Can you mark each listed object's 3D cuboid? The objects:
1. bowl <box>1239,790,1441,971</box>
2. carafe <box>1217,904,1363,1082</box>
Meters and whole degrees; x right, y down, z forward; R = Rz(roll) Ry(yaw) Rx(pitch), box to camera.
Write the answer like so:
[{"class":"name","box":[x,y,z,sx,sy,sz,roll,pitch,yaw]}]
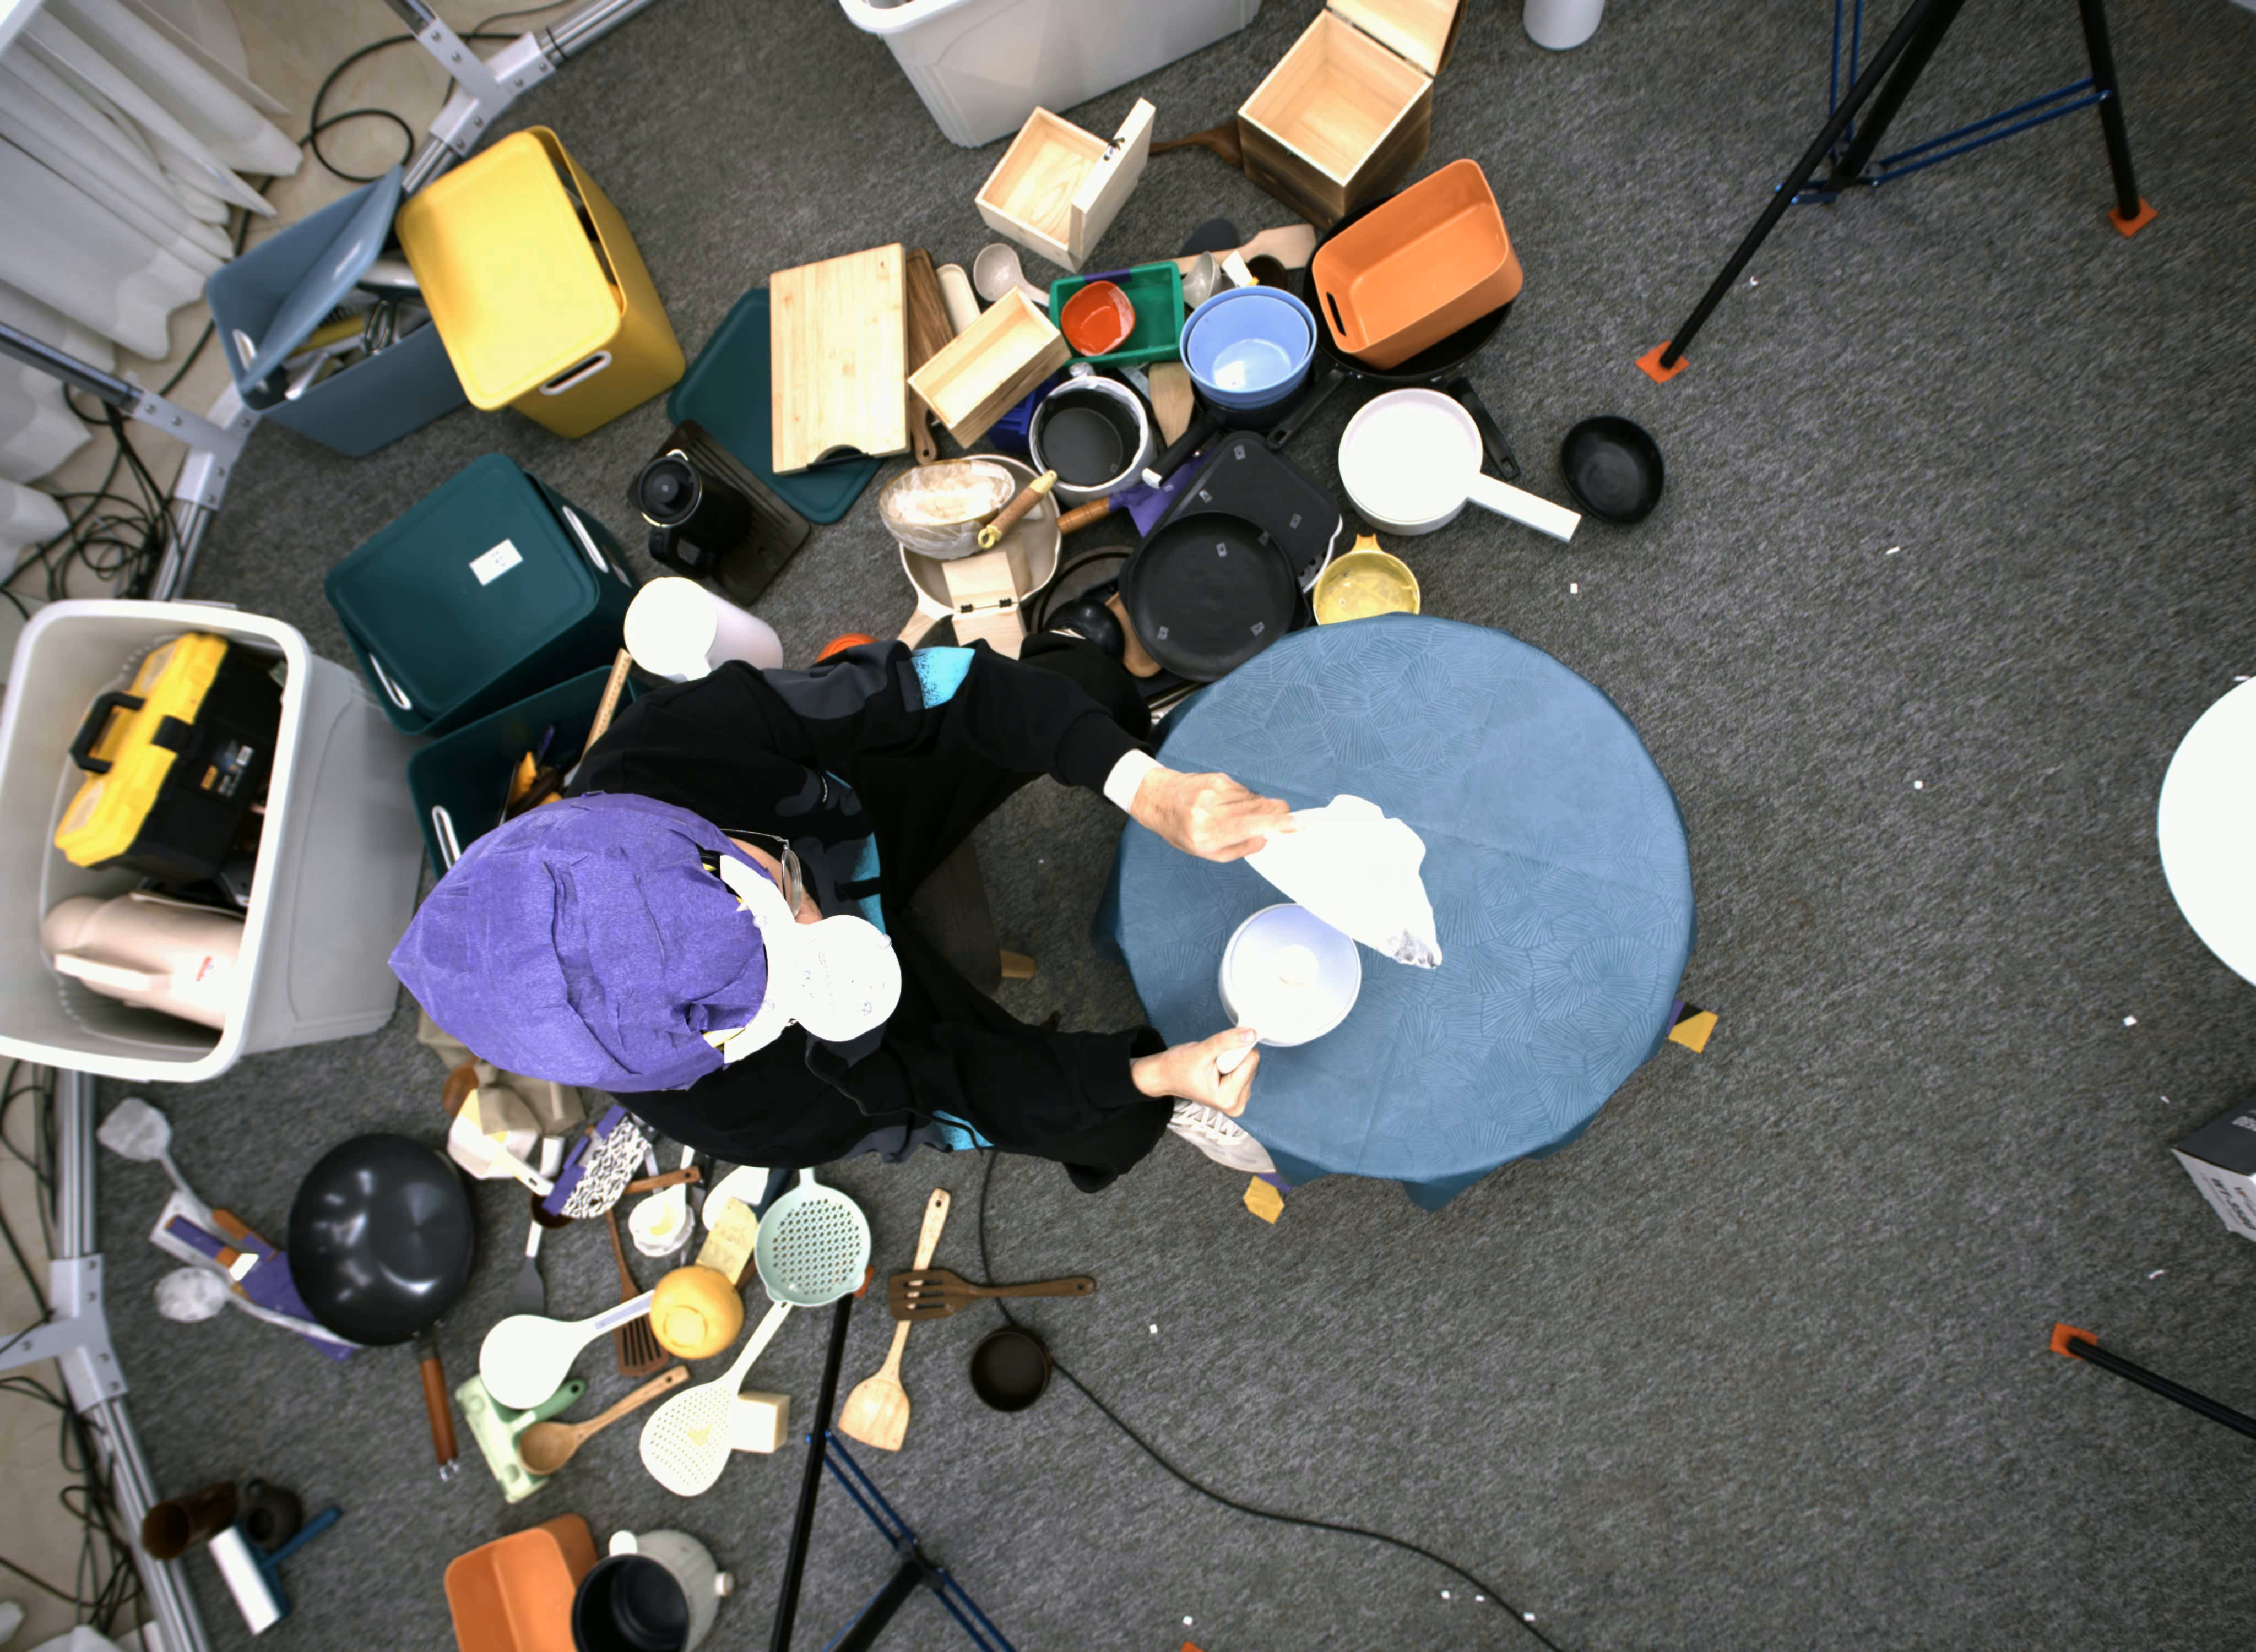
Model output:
[{"class":"bowl","box":[0.195,0.027,1.143,0.203,0.206,0.077,38,82,11]},{"class":"carafe","box":[0.143,0.166,1.347,0.132,0.183,0.190,34,87,8]}]
